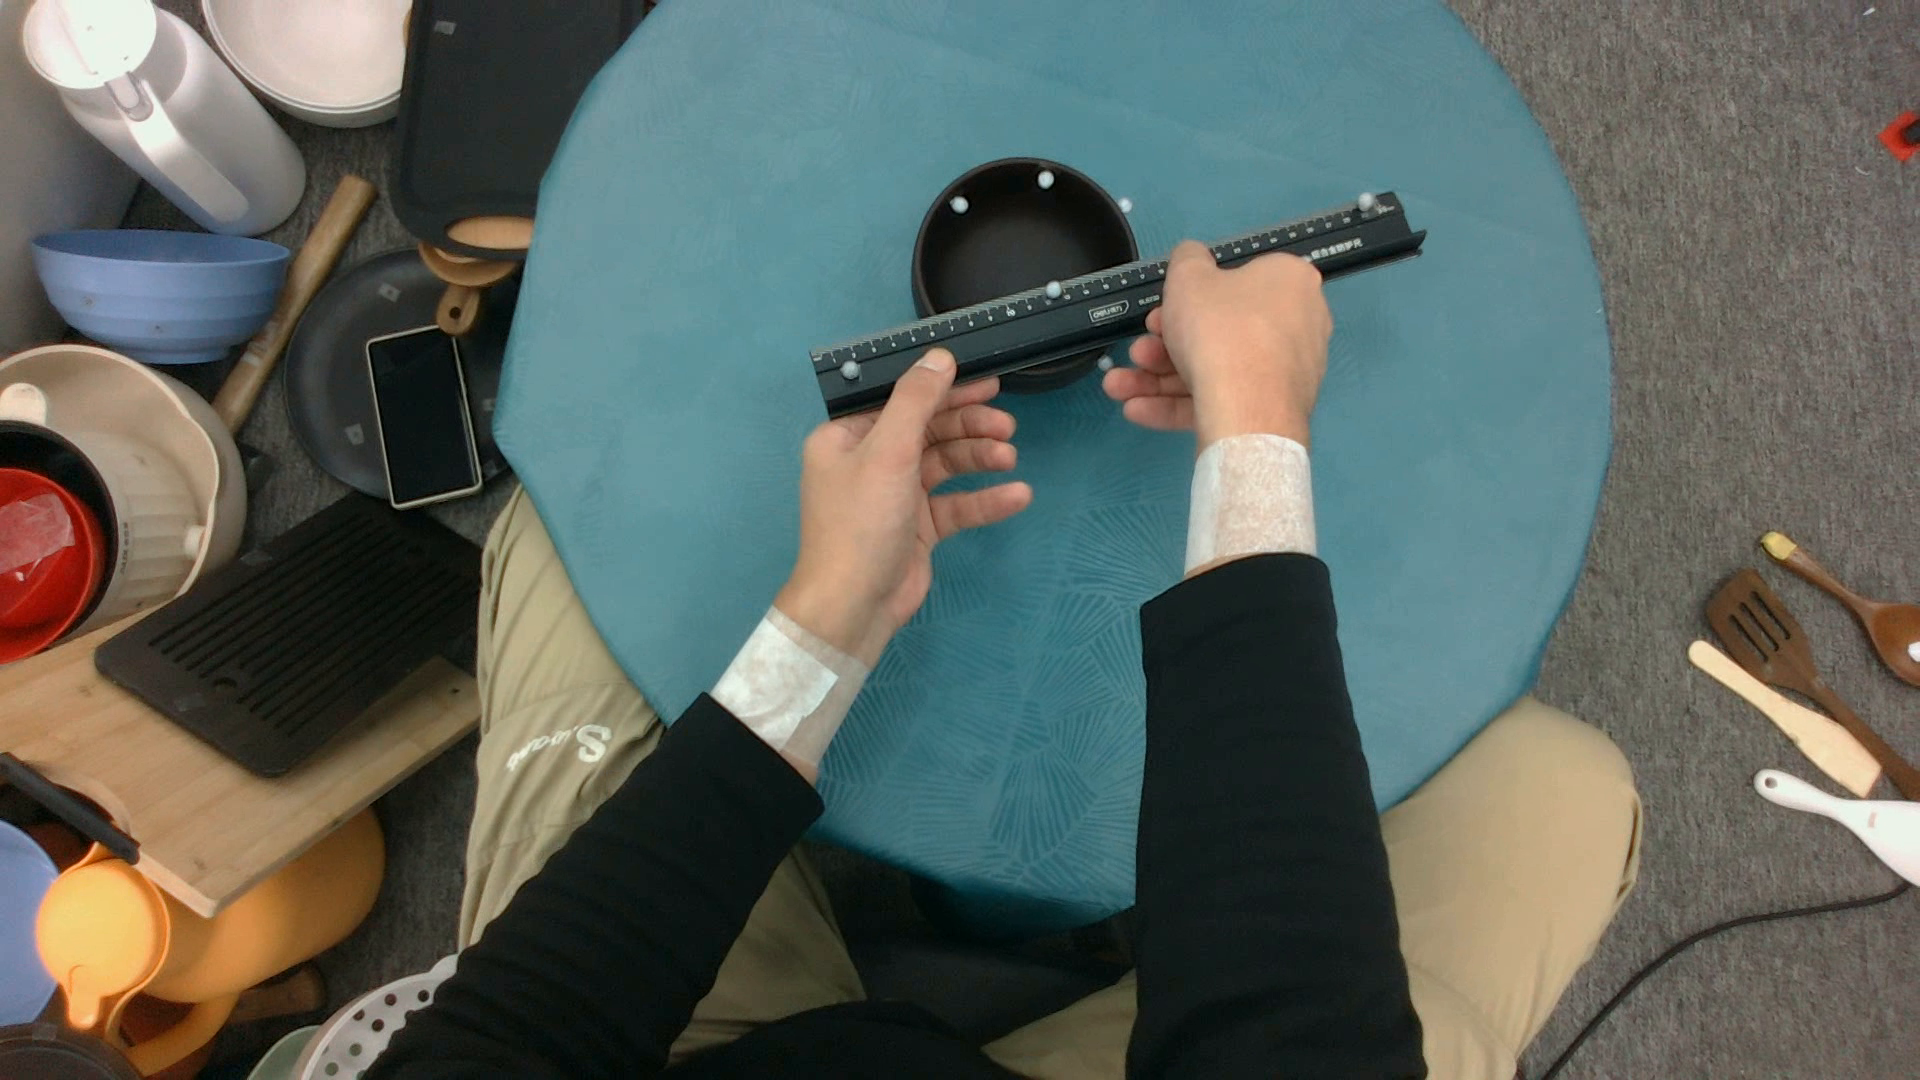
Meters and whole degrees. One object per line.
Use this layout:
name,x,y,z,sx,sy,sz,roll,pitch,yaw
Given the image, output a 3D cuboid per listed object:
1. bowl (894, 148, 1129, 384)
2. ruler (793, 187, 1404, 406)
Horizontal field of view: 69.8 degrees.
bowl,0.024,-0.134,0.713,0.118,0.069,0.118,1,73,-4
ruler,0.073,-0.125,0.678,0.313,0.017,0.039,-16,76,-9
